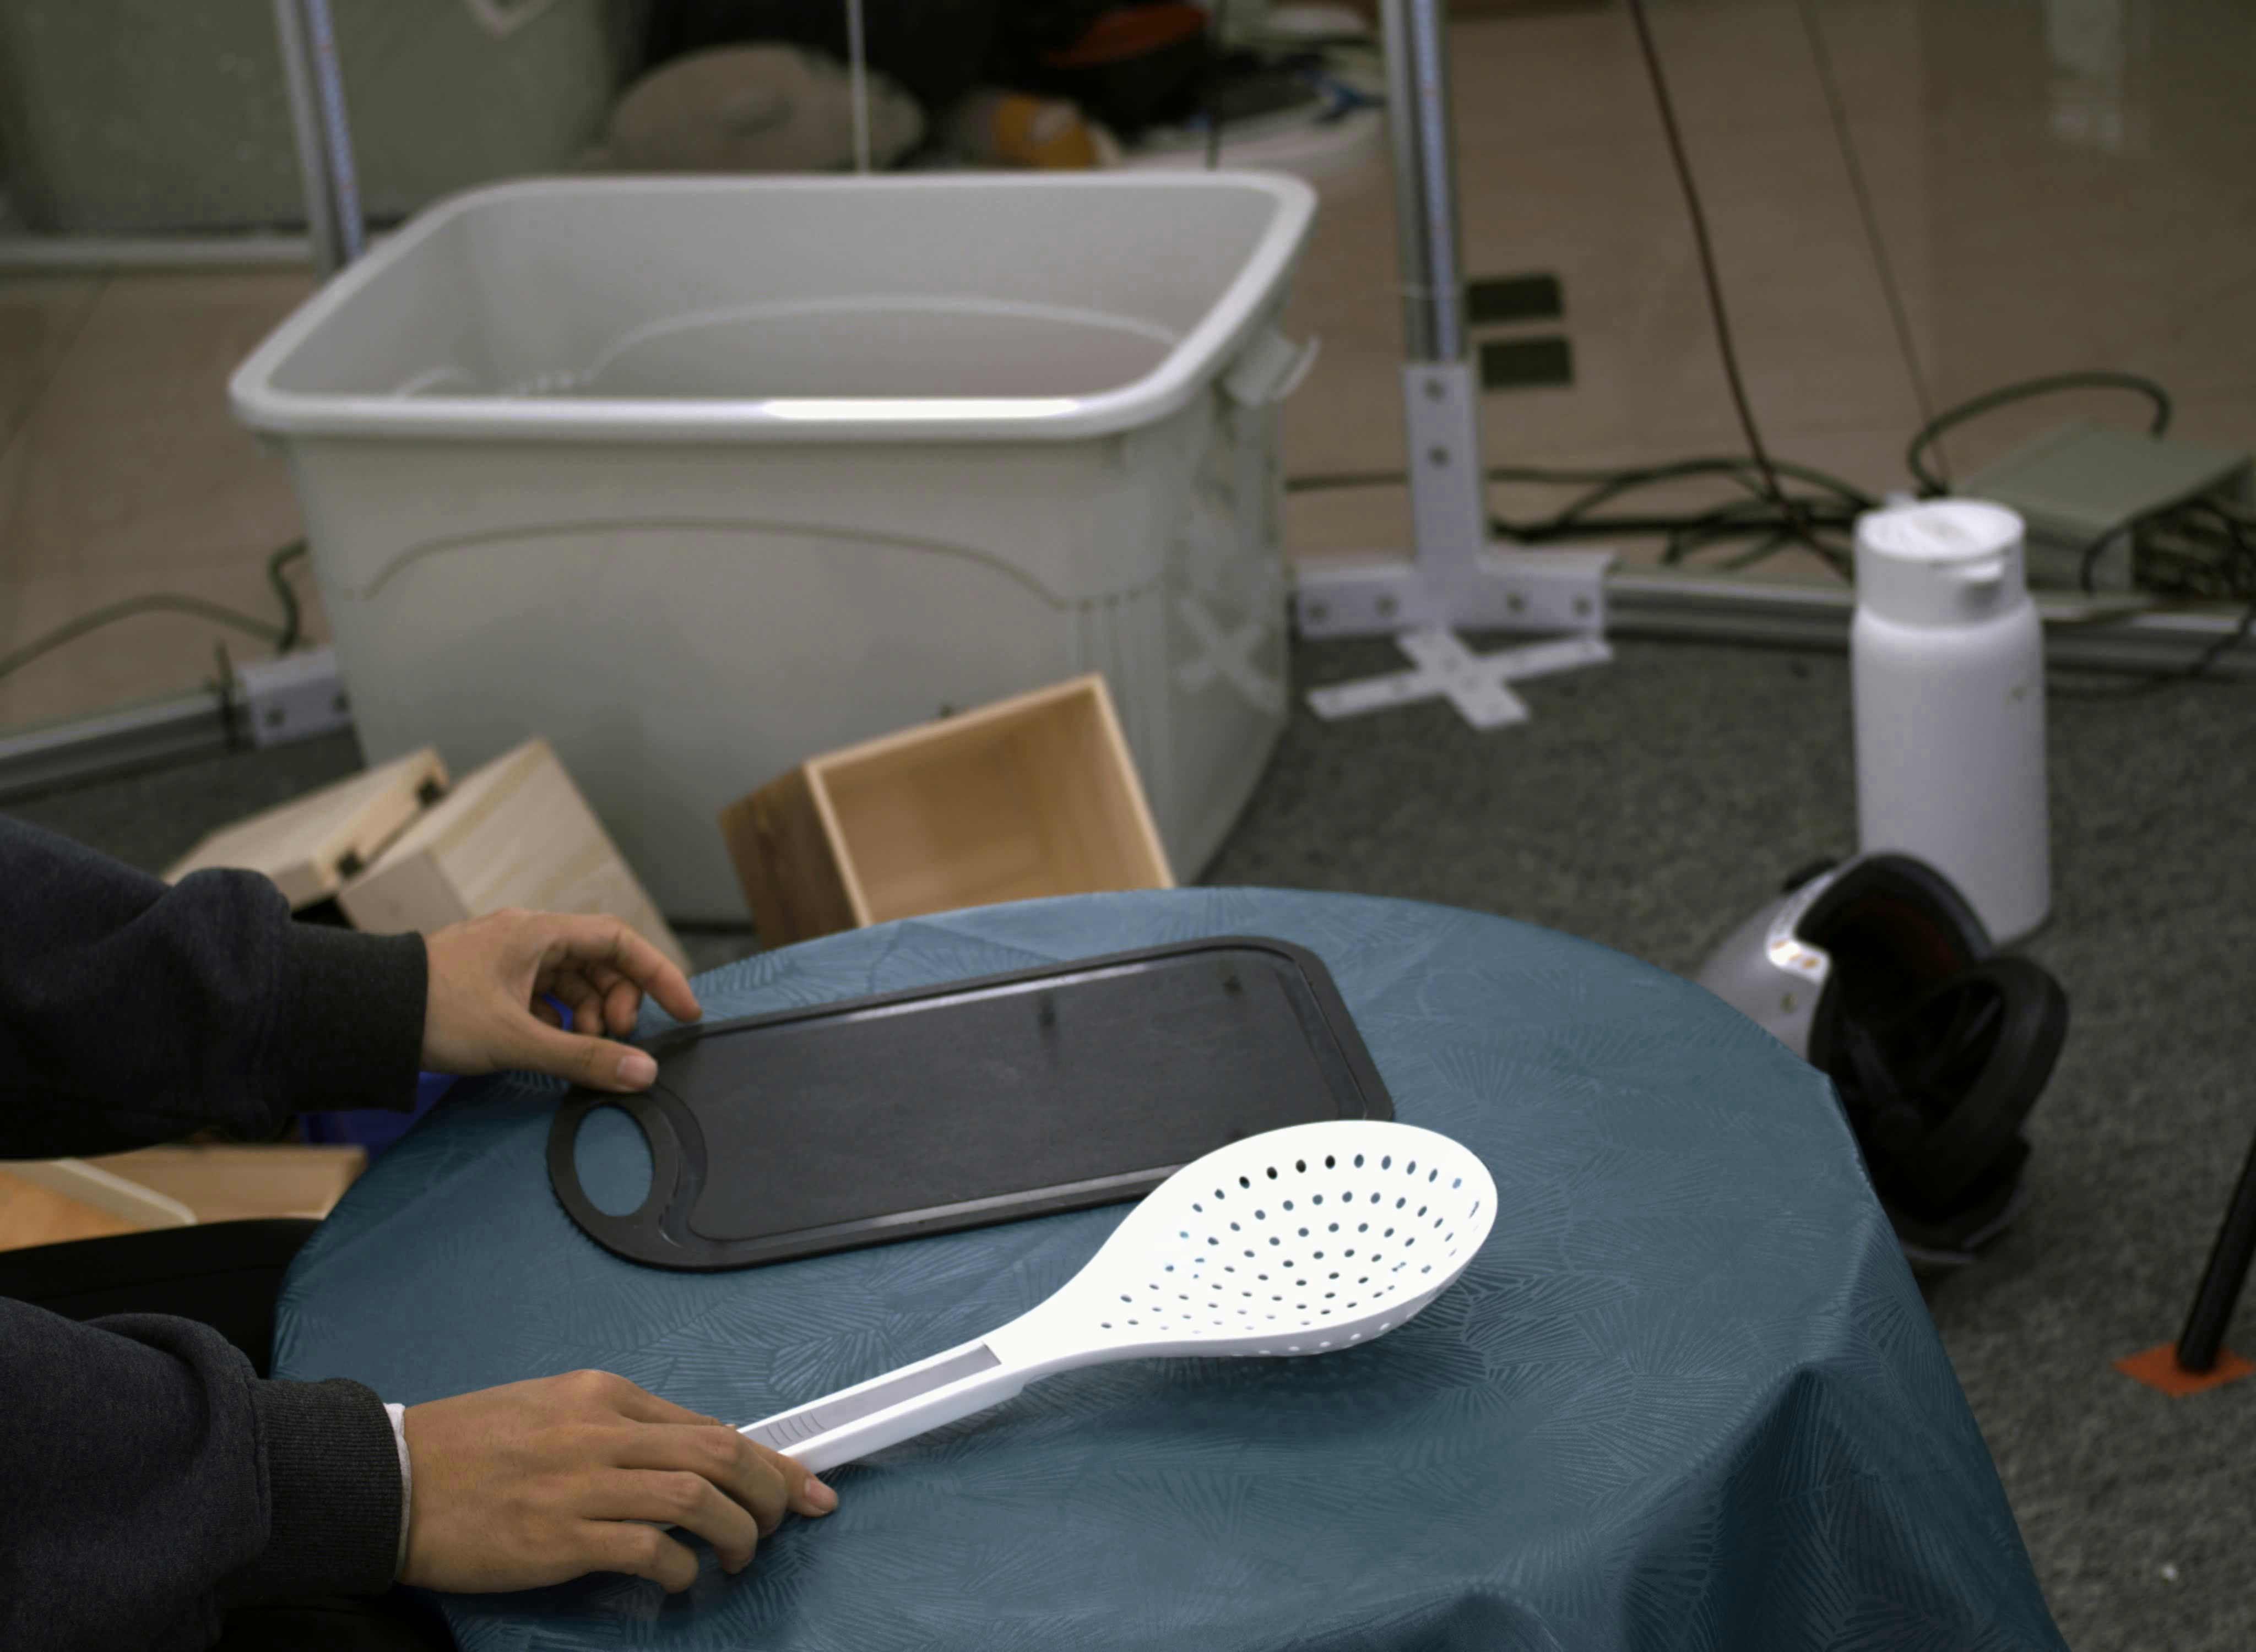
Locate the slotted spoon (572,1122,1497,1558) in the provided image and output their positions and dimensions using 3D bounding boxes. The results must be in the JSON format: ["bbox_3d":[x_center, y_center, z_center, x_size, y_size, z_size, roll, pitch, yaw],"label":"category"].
[{"bbox_3d":[-0.031,0.185,2.002,0.348,0.046,0.134,-16,27,-18],"label":"slotted spoon"}]

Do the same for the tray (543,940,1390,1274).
[{"bbox_3d":[-0.068,0.108,2.223,0.325,0.010,0.208,-9,25,-6],"label":"tray"}]
